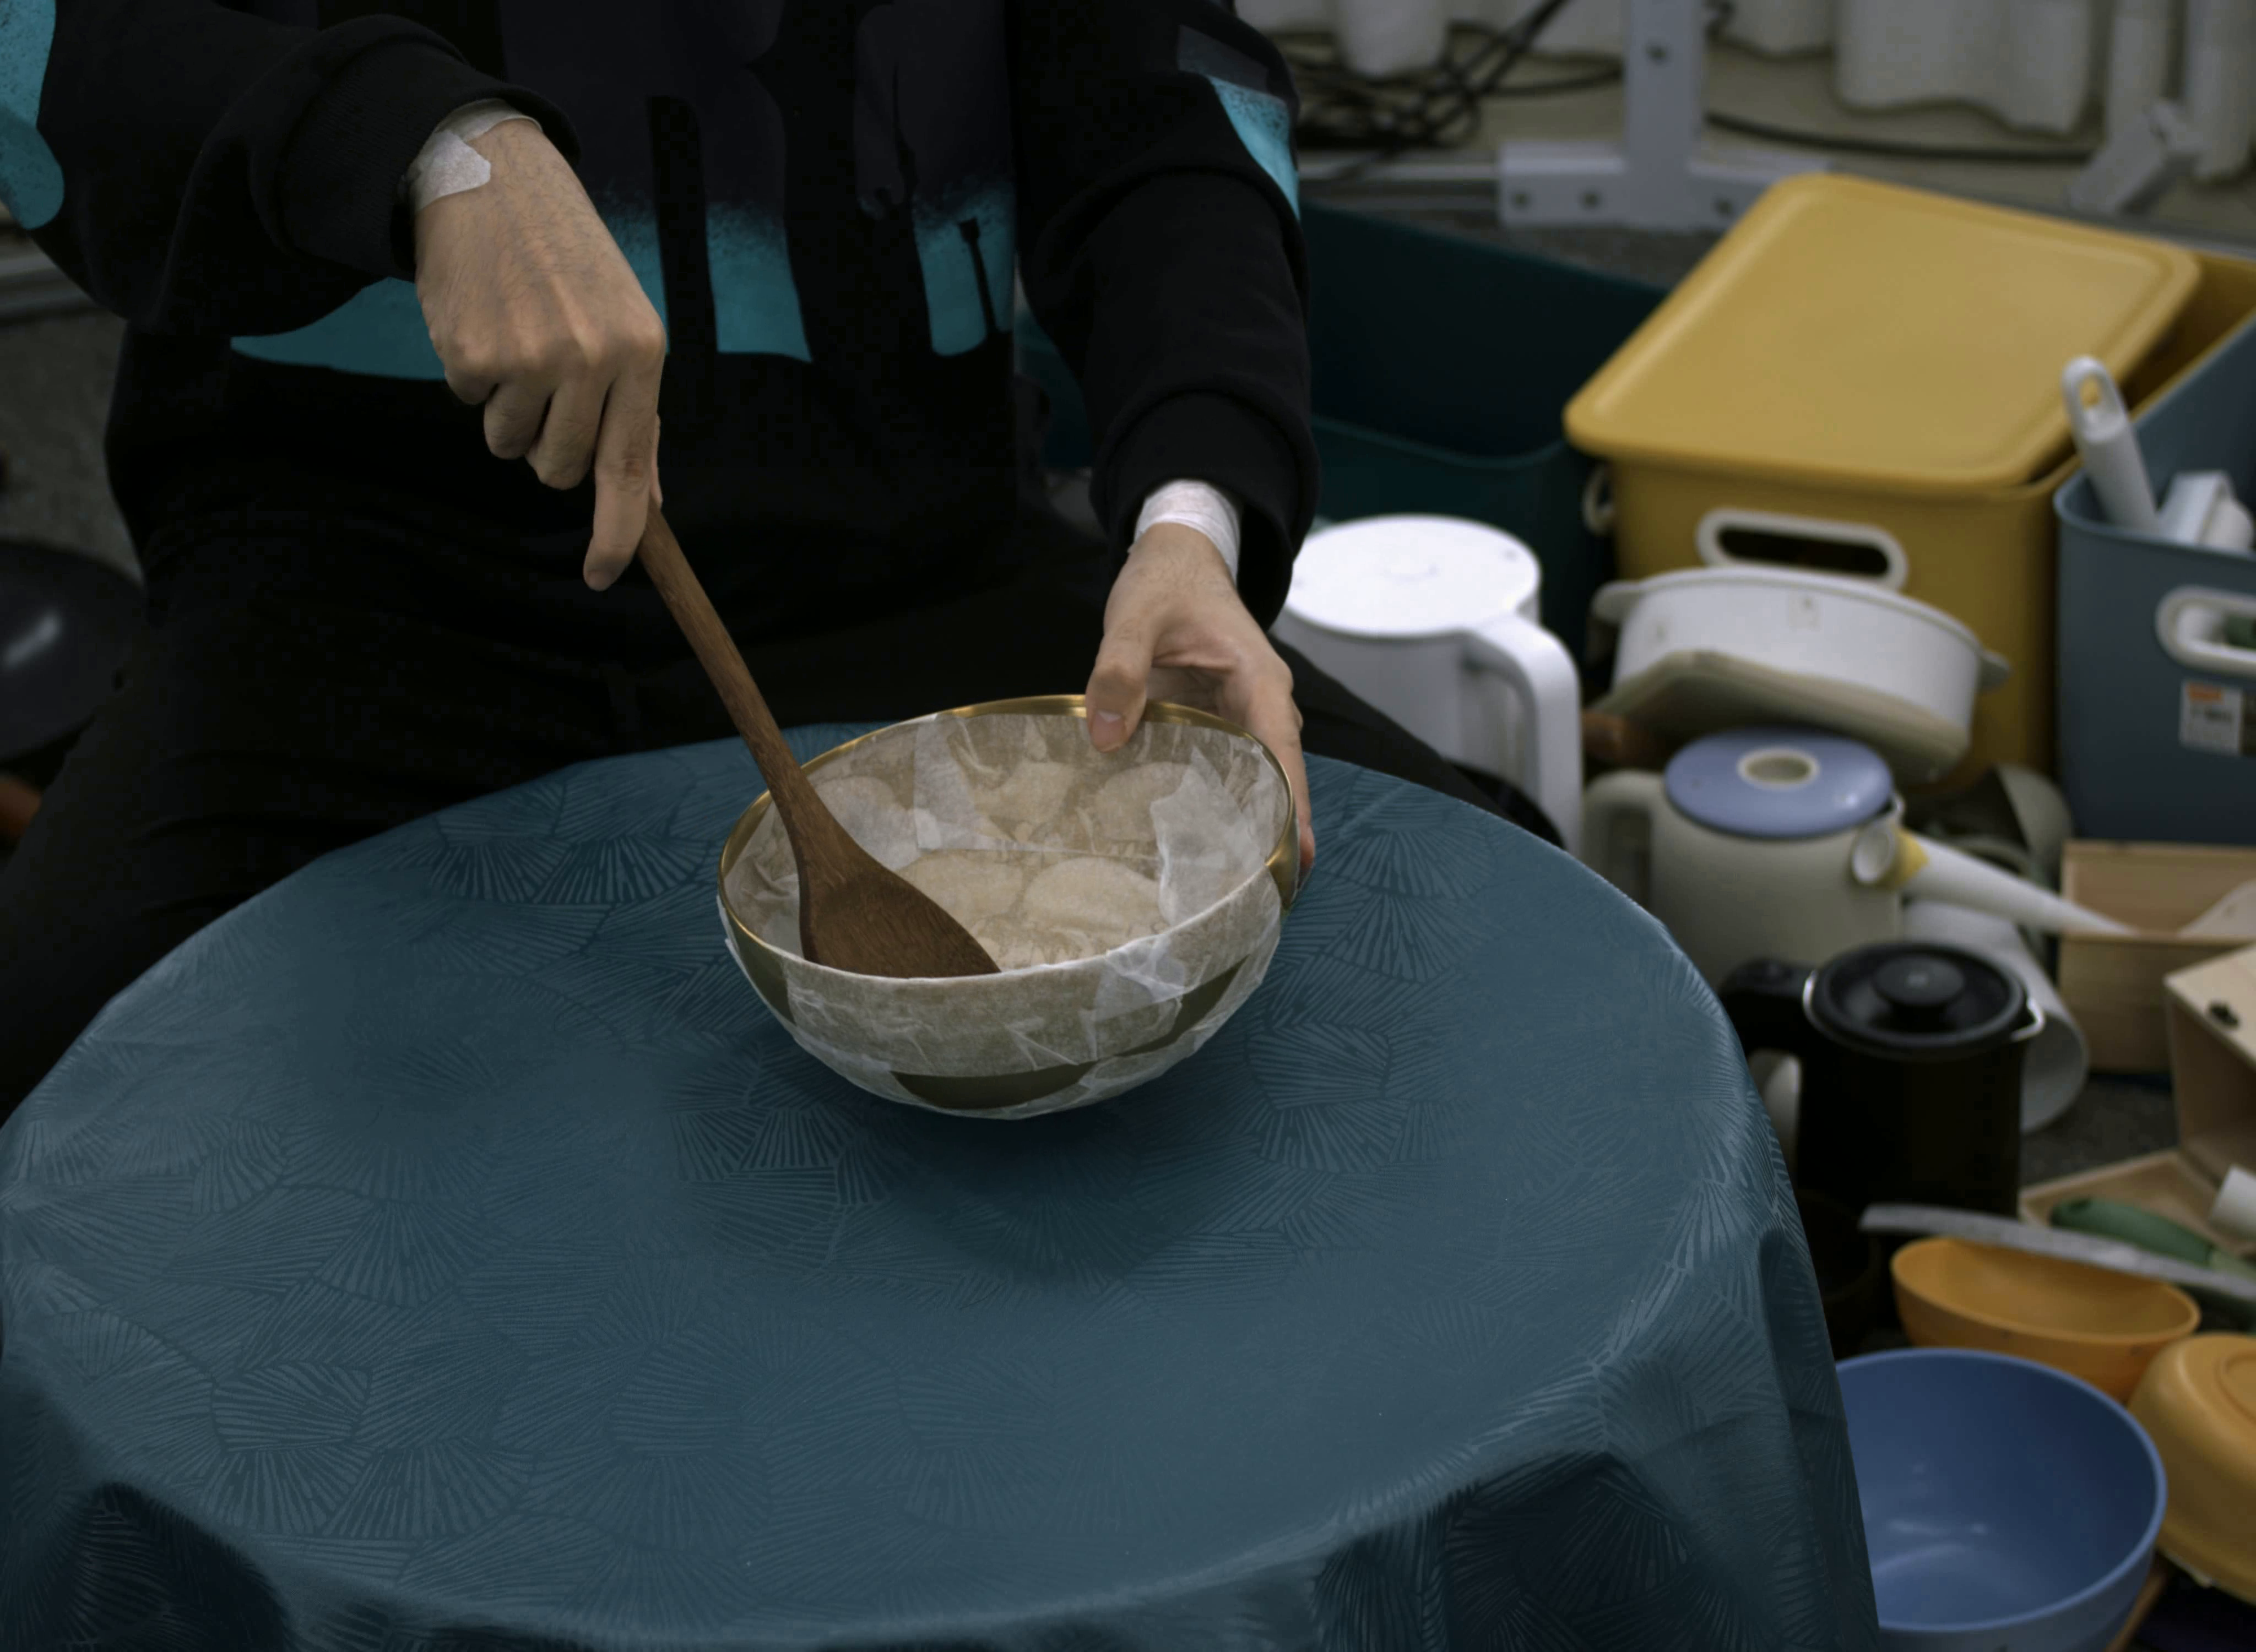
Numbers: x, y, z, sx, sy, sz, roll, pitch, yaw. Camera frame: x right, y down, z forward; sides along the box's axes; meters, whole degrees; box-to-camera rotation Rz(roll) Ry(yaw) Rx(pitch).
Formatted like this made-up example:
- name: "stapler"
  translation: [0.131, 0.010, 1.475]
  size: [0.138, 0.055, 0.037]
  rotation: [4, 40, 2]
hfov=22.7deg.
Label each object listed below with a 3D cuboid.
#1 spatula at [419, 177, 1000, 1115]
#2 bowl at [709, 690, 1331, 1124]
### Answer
- name: "spatula"
  translation: [-0.145, -0.066, 1.937]
  size: [0.015, 0.388, 0.097]
  rotation: [-38, -14, 31]
- name: "bowl"
  translation: [-0.033, 0.039, 1.920]
  size: [0.213, 0.093, 0.218]
  rotation: [-7, 26, 4]
